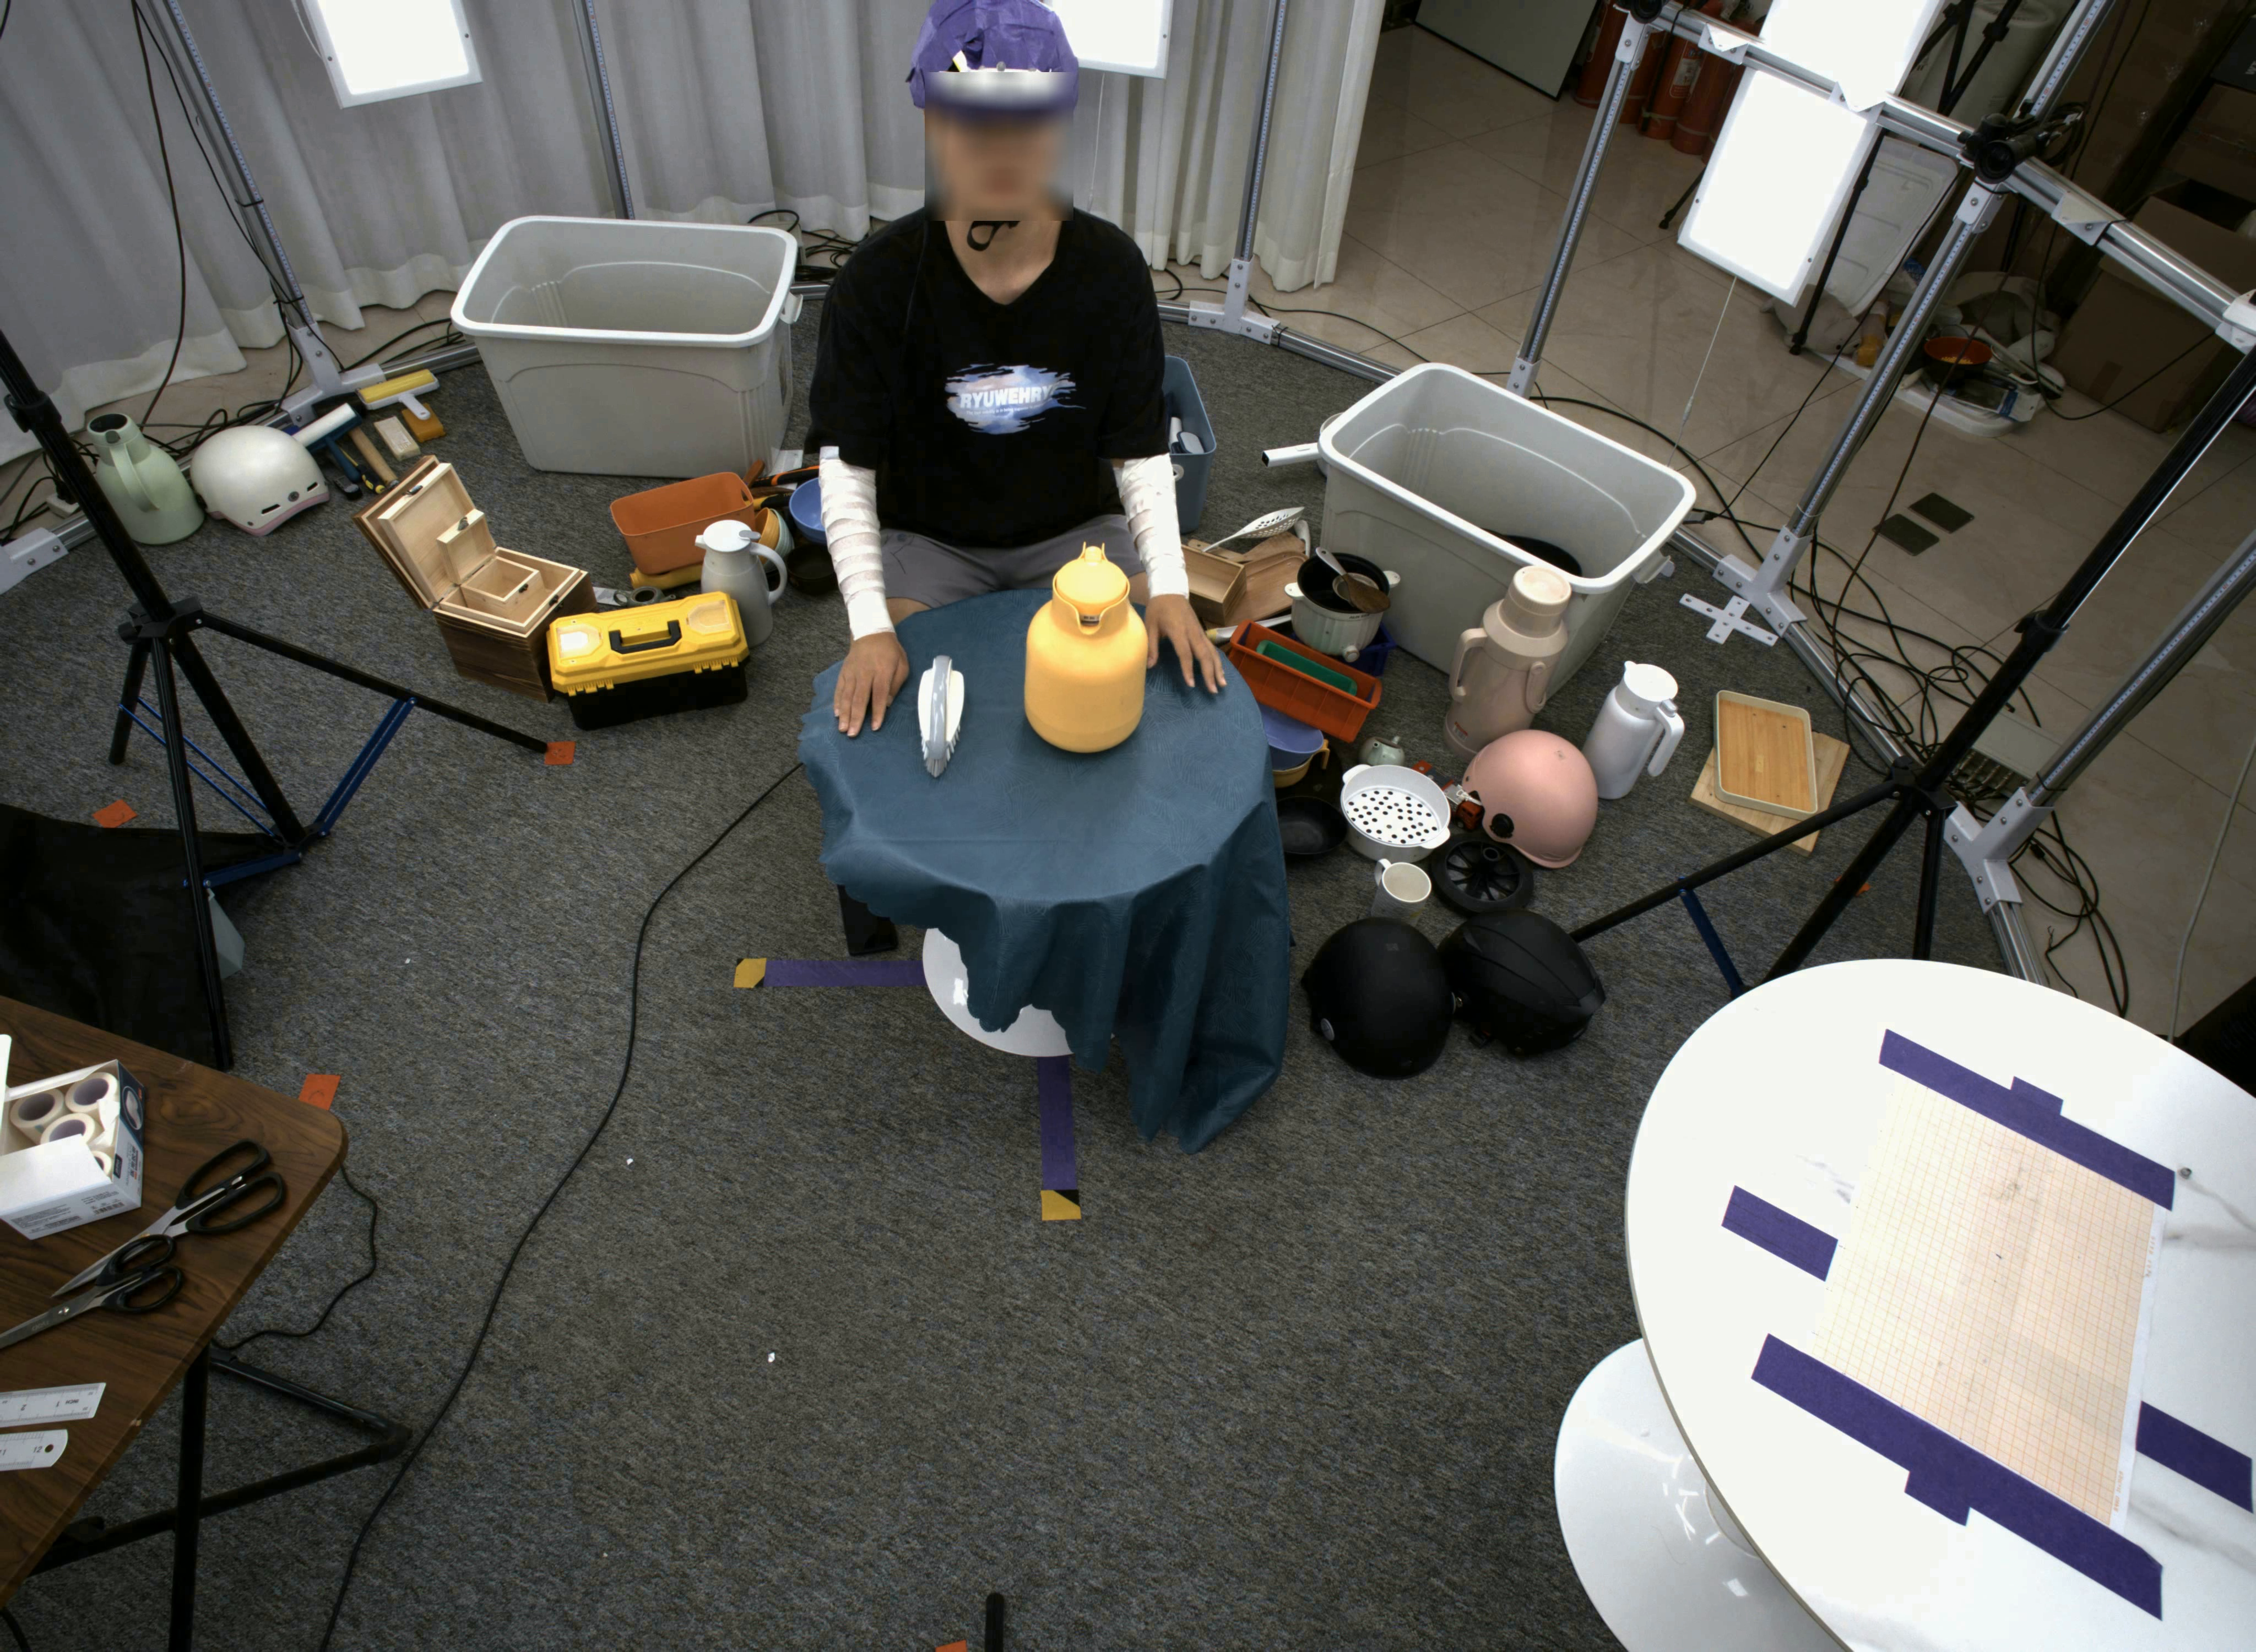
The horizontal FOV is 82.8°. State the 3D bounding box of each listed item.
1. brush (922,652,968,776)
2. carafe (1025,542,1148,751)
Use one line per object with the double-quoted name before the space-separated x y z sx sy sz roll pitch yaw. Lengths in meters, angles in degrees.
"brush" -0.250 -0.160 1.737 0.061 0.092 0.180 0 51 -2
"carafe" -0.052 -0.246 1.716 0.163 0.254 0.207 6 51 -1
